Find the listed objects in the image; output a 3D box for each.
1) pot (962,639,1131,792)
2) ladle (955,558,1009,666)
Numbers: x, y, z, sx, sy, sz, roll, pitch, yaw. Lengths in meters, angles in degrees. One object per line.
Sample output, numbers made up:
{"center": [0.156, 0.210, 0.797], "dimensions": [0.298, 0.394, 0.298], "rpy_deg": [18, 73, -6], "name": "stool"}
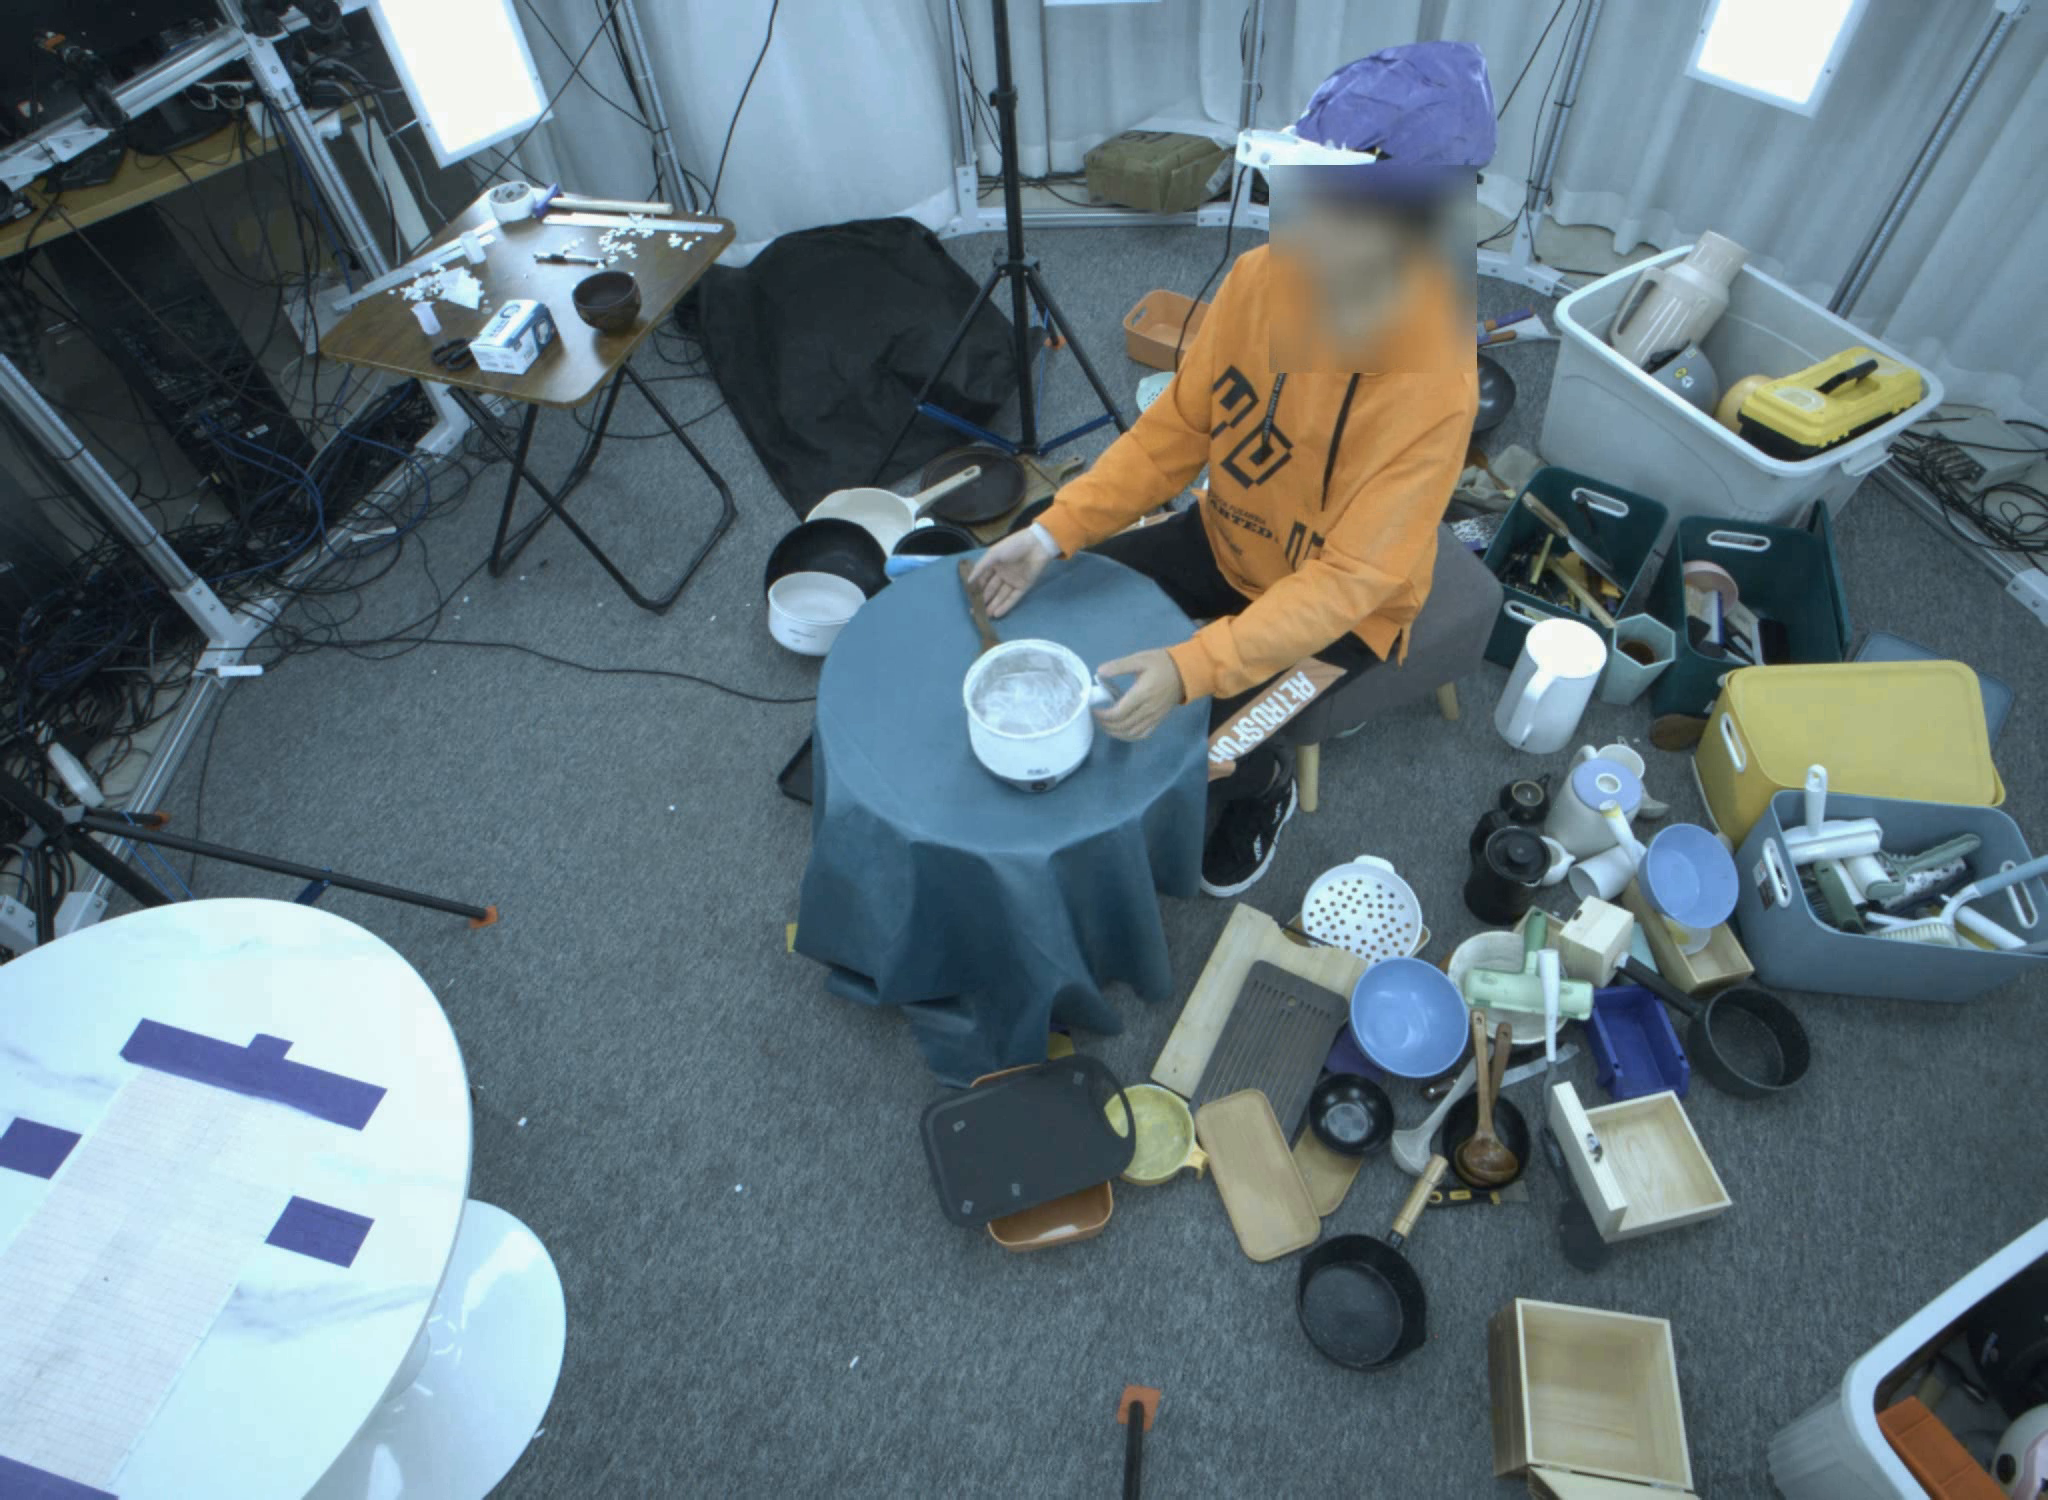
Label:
{"center": [0.035, -0.052, 1.738], "dimensions": [0.234, 0.138, 0.176], "rpy_deg": [-9, 55, -3], "name": "pot"}
{"center": [-0.069, -0.225, 1.906], "dimensions": [0.076, 0.072, 0.270], "rpy_deg": [-12, 56, -8], "name": "ladle"}
